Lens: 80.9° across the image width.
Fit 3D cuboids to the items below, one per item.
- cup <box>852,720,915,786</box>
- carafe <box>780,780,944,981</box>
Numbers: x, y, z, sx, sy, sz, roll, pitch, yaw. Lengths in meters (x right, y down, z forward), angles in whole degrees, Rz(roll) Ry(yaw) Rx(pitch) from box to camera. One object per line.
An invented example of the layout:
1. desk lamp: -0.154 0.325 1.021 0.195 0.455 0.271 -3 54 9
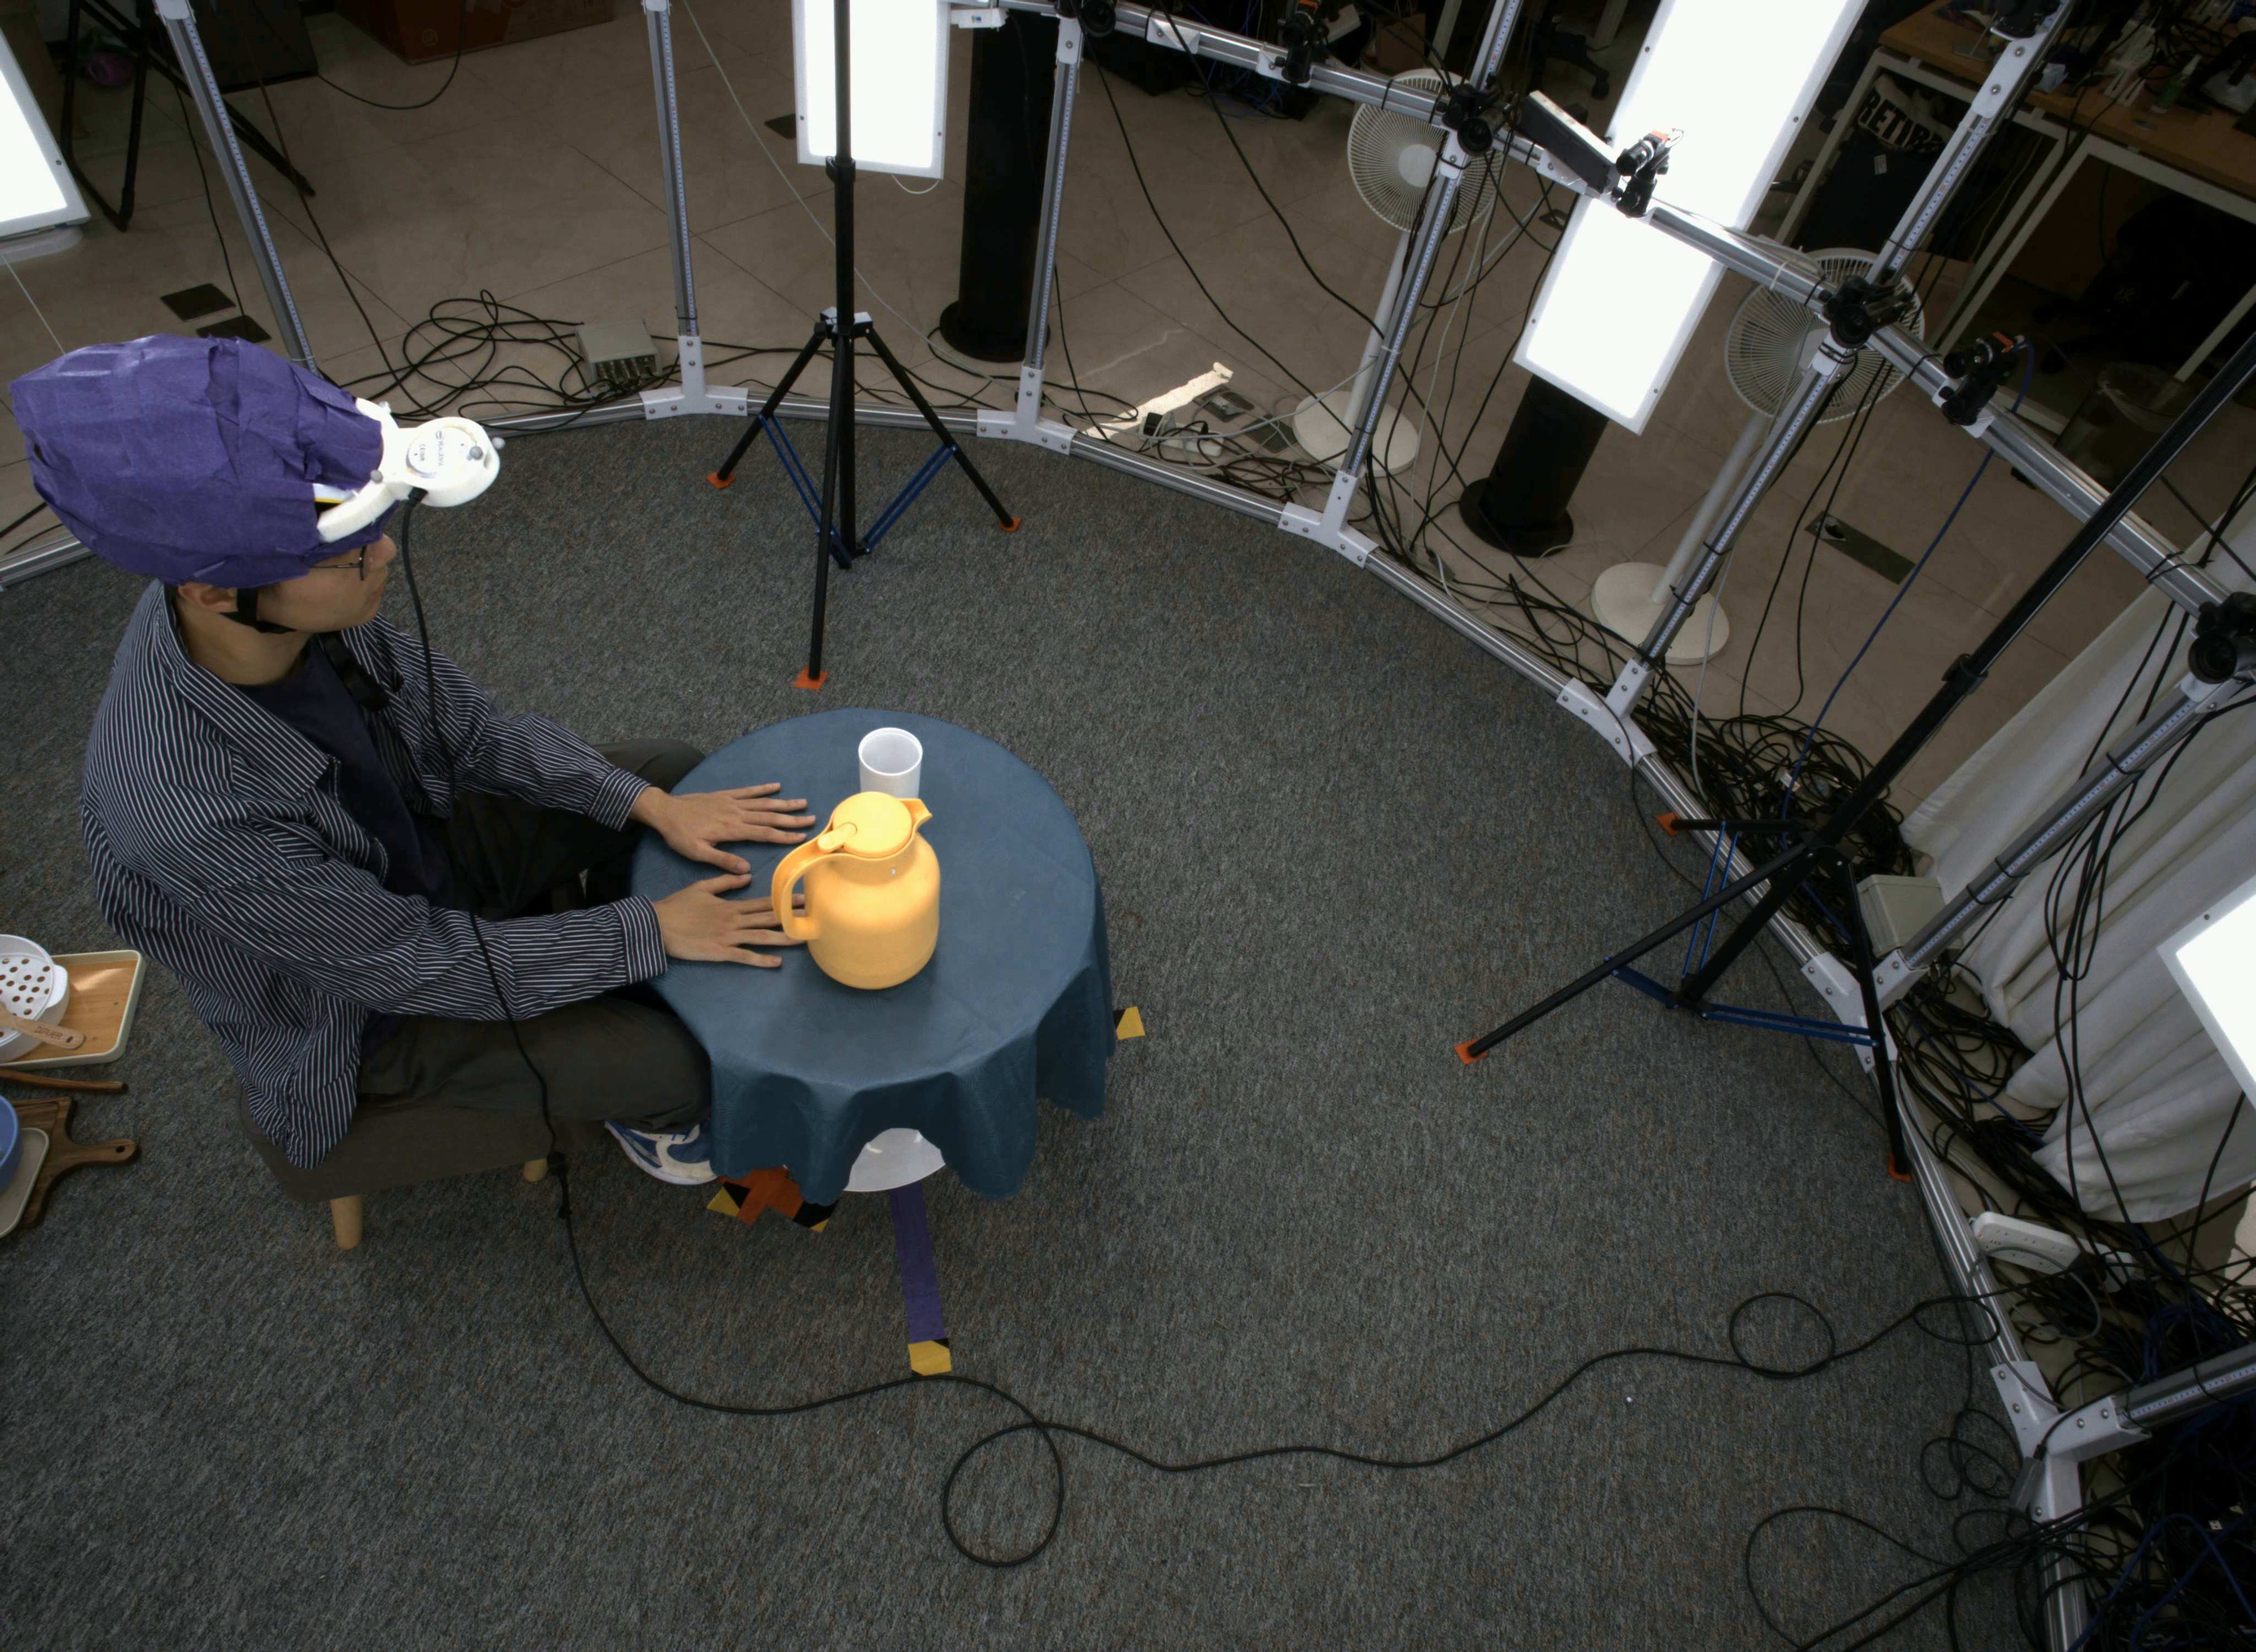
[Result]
1. cup: -0.326 -0.069 1.732 0.081 0.128 0.080 6 52 -6
2. carafe: -0.317 0.065 1.552 0.203 0.266 0.159 -27 61 -28
